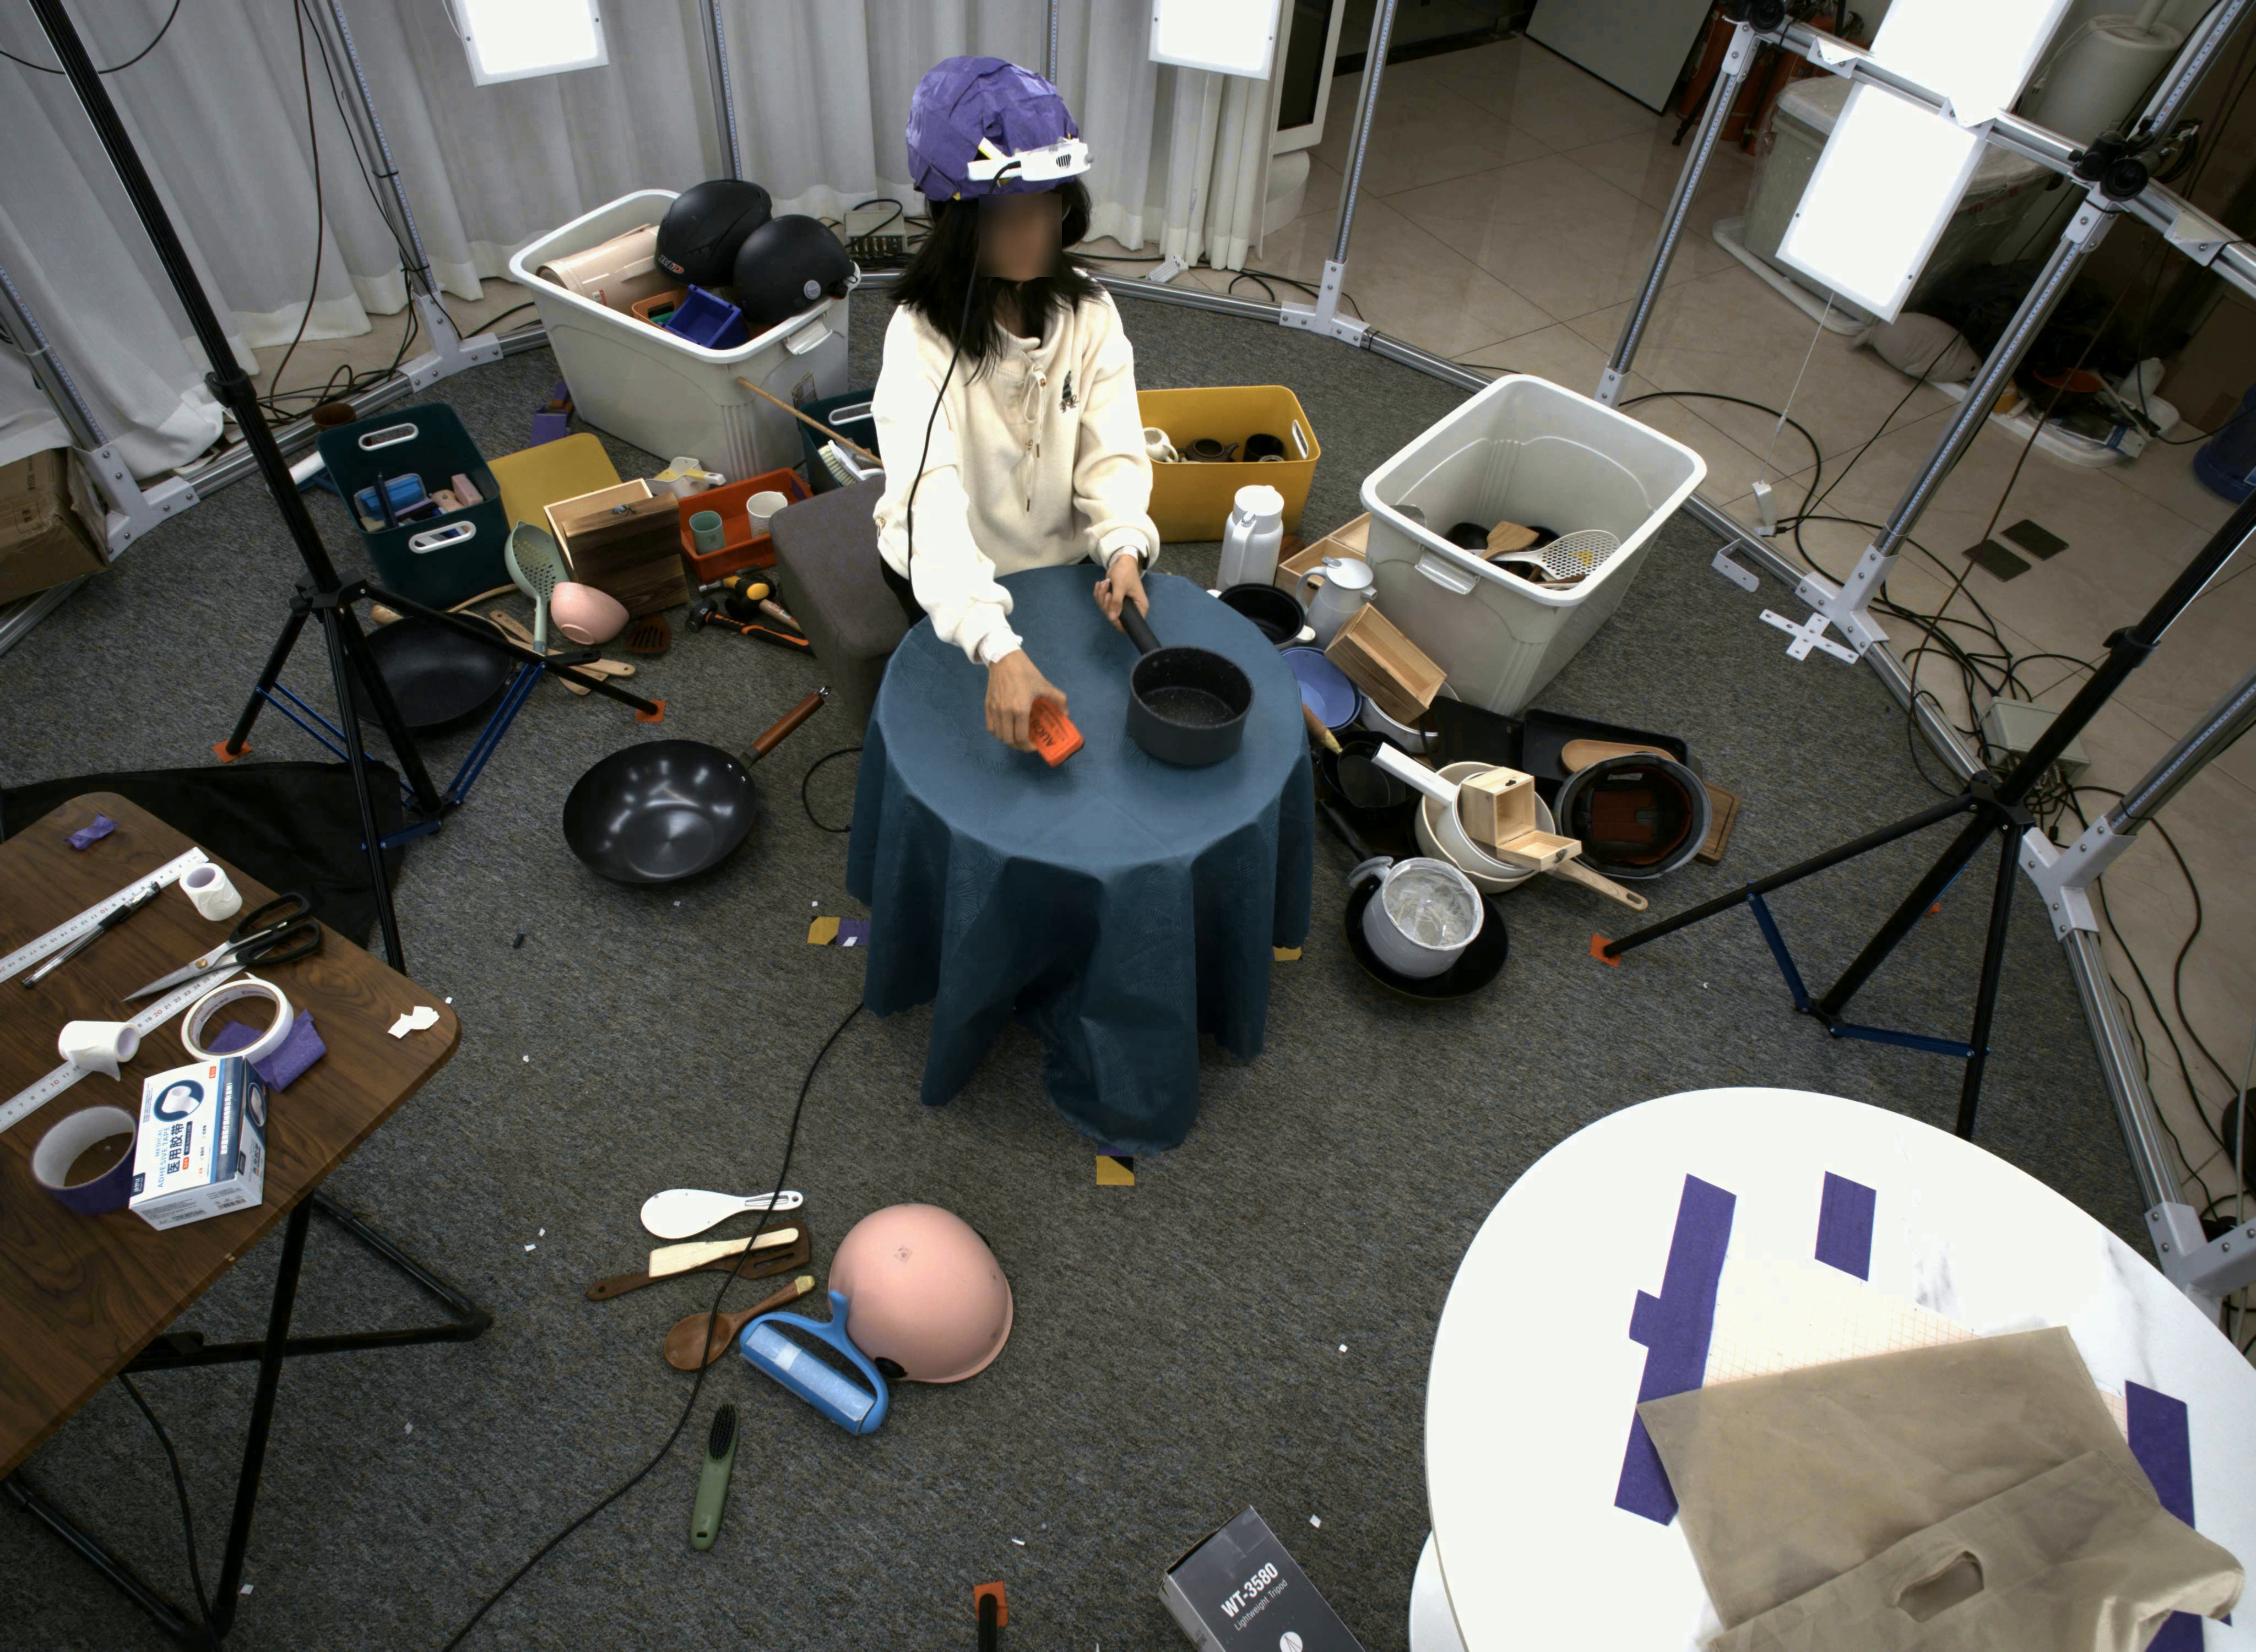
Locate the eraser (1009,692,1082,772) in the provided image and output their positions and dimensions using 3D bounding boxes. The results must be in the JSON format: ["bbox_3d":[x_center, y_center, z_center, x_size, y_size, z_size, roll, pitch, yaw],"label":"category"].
[{"bbox_3d":[-0.112,-0.128,1.723,0.059,0.022,0.110,-38,60,-1],"label":"eraser"}]

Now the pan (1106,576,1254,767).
[{"bbox_3d":[0.047,-0.220,1.808,0.172,0.084,0.336,-16,52,-22],"label":"pan"}]
